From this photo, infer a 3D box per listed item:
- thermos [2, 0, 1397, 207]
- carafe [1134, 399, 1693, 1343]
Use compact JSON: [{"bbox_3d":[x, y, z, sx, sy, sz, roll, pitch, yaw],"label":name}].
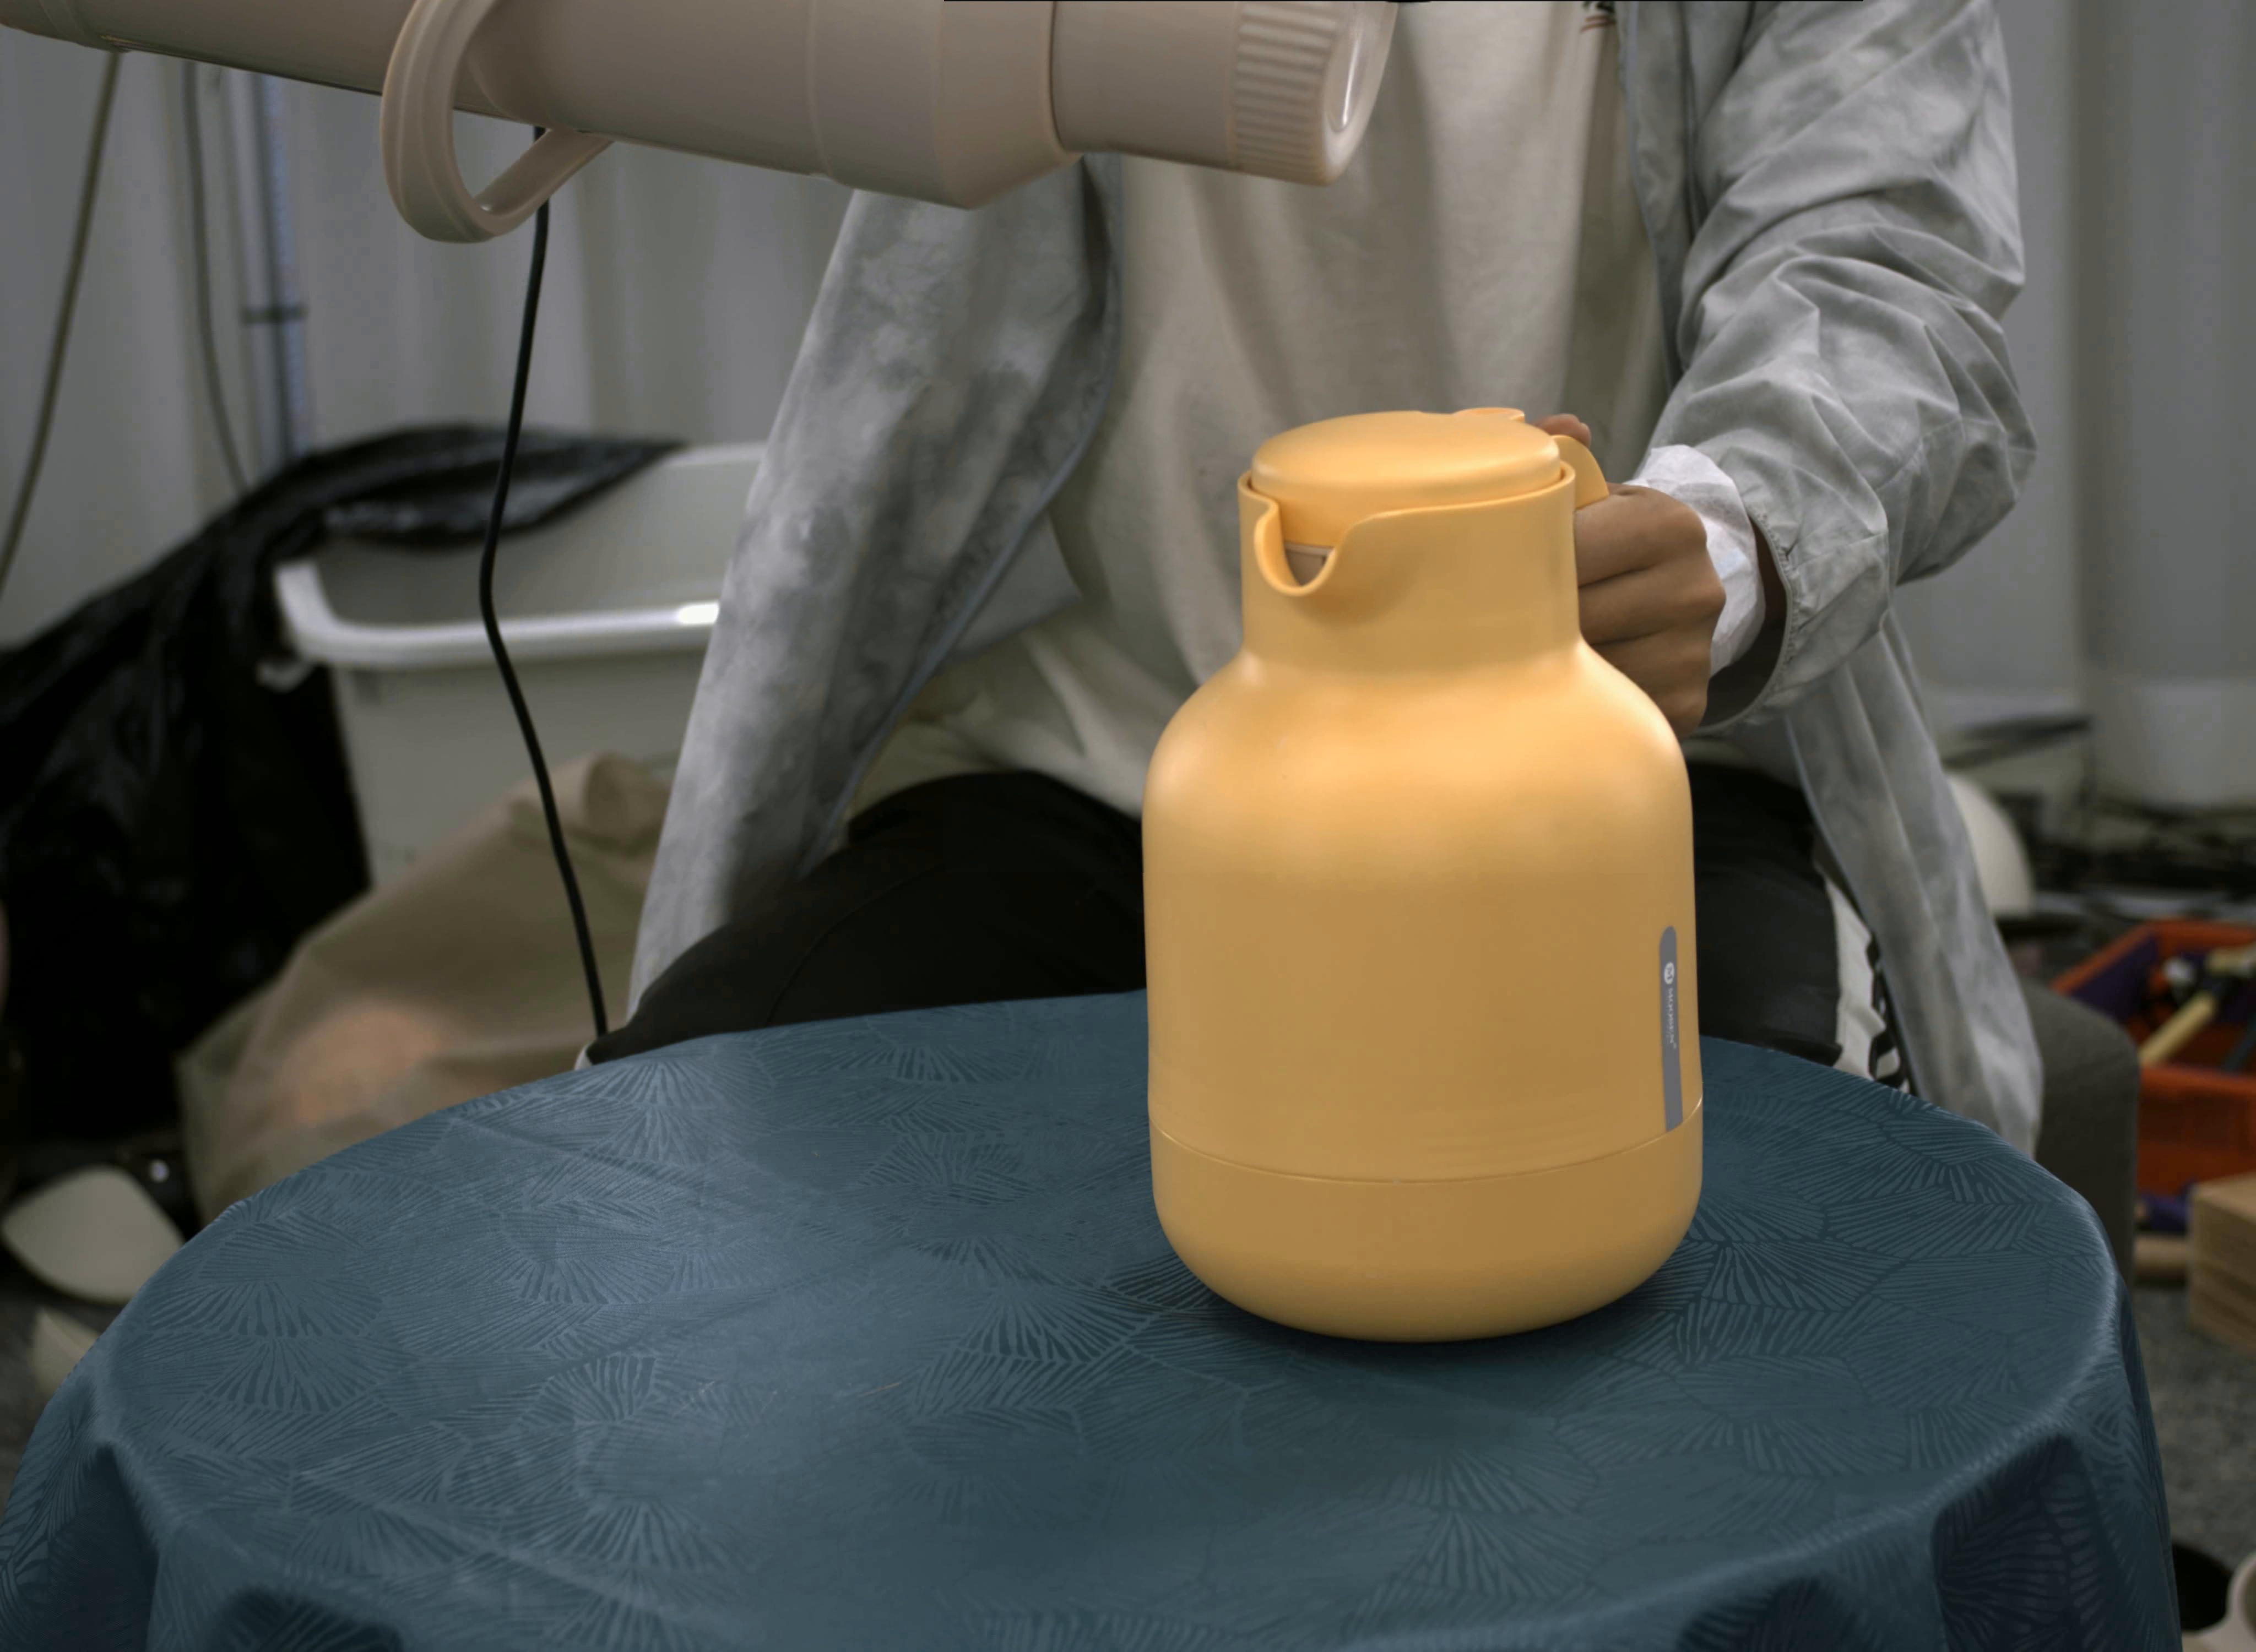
[{"bbox_3d":[-0.121,-0.288,1.592,0.406,0.208,0.174,13,-7,13],"label":"thermos"},{"bbox_3d":[0.093,0.005,1.610,0.164,0.259,0.202,8,18,30],"label":"carafe"}]
